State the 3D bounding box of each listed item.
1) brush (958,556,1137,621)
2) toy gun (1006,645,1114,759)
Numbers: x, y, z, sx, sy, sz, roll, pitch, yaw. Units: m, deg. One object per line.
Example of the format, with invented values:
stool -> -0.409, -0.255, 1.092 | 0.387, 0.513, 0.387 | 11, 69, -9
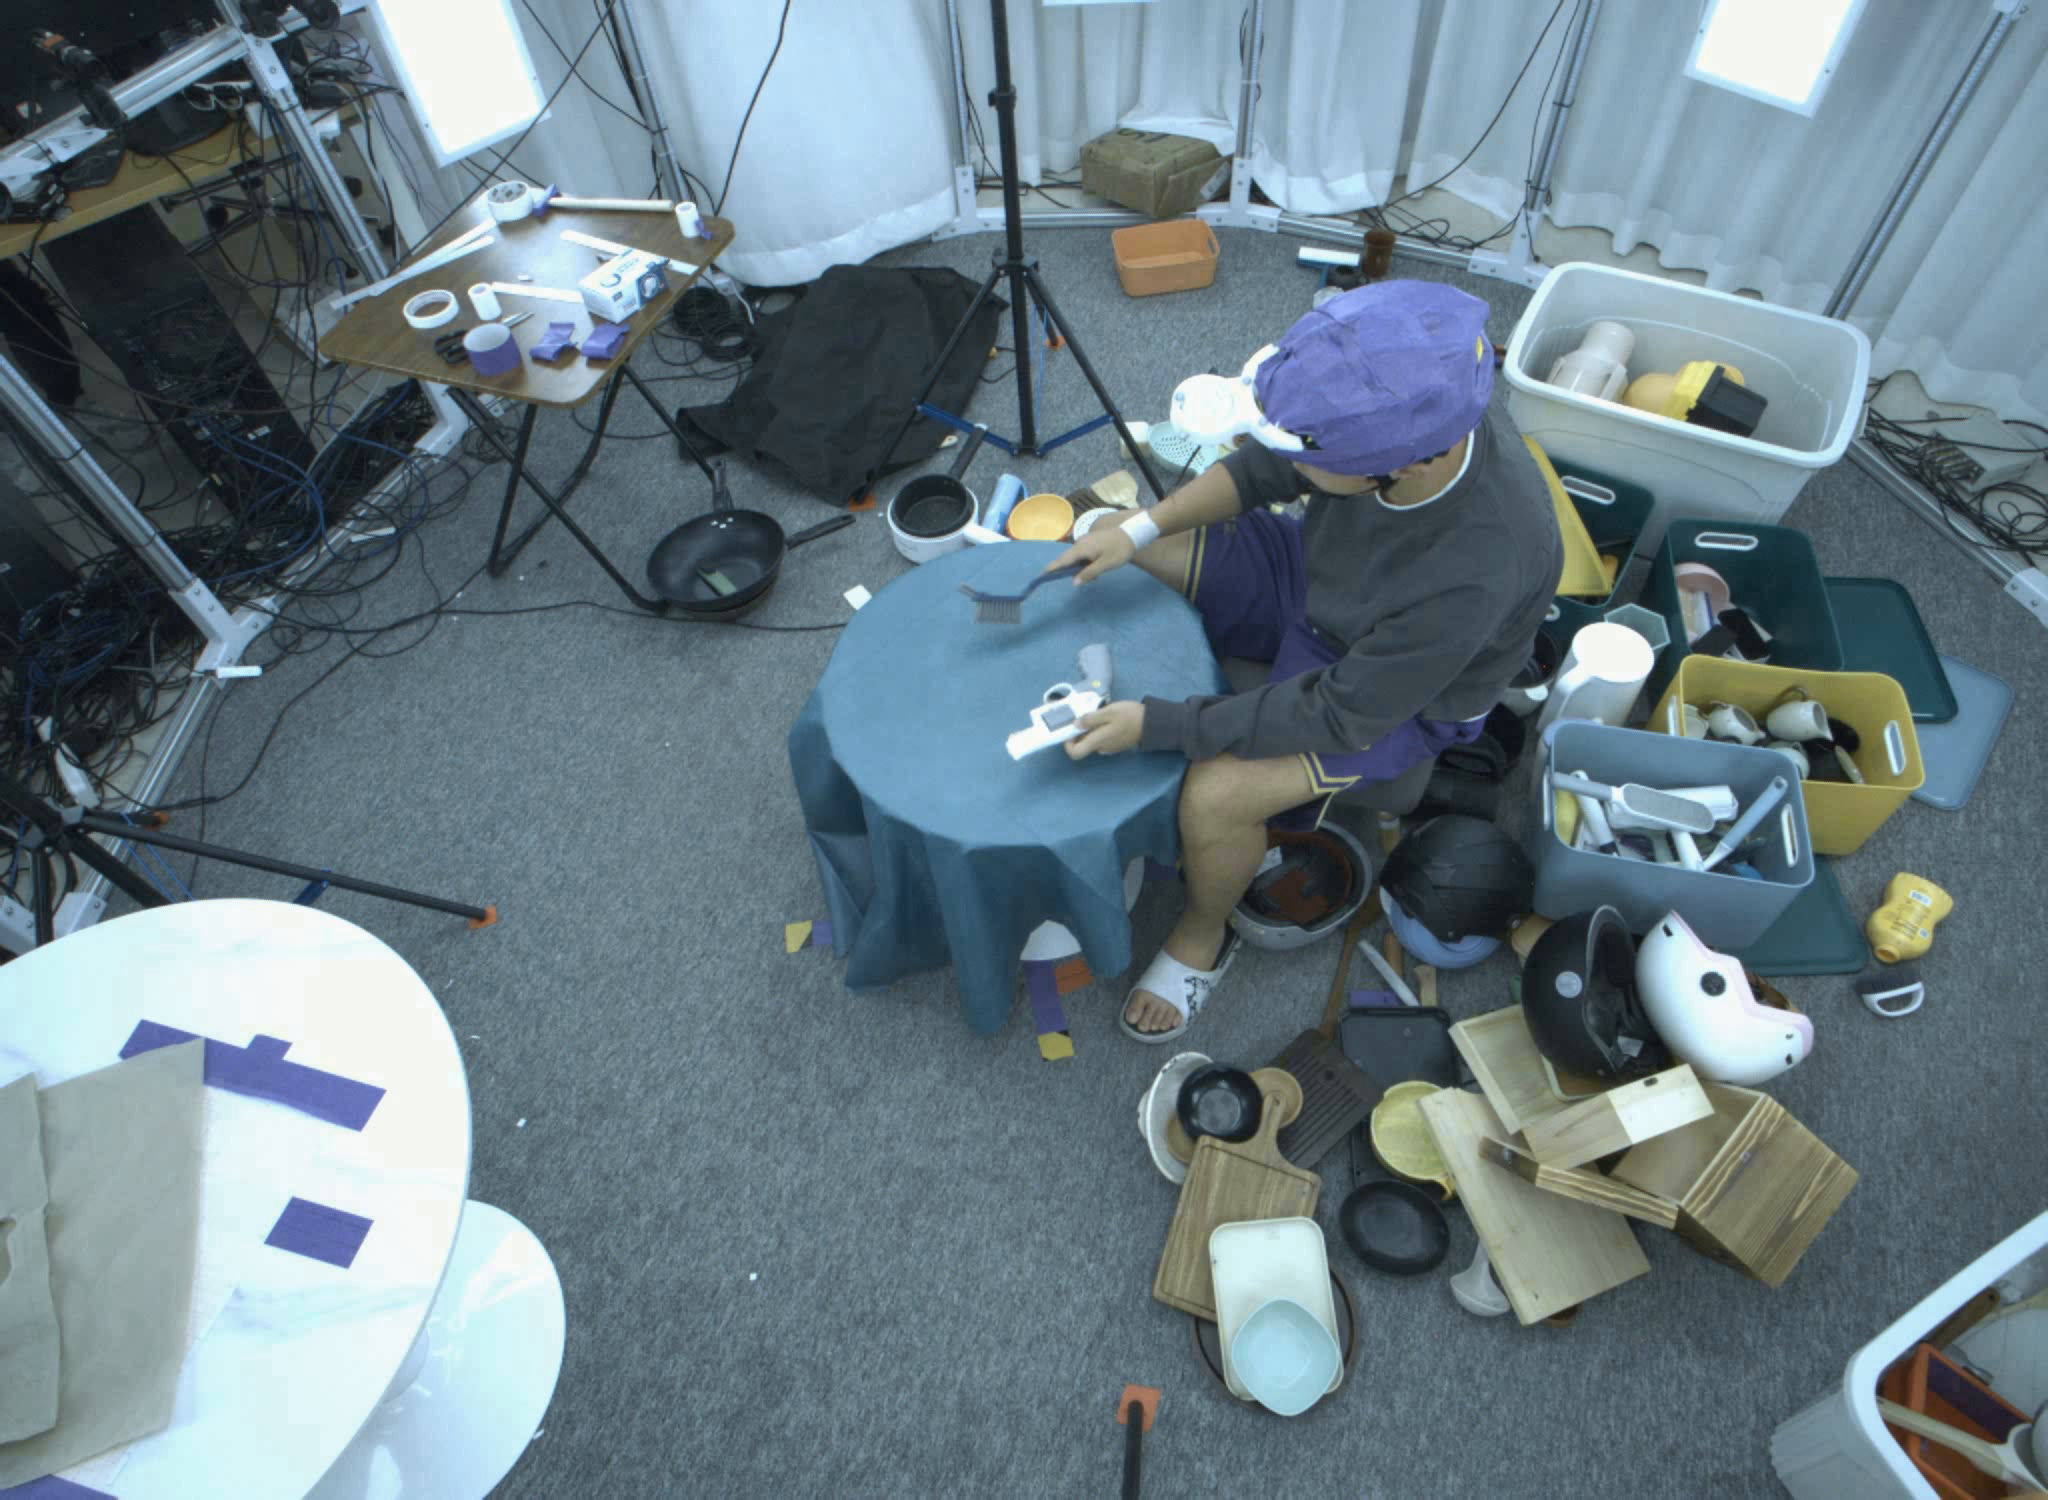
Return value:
brush -> 0.039, -0.272, 1.891 | 0.275, 0.033, 0.096 | -25, 97, -13
toy gun -> 0.054, -0.071, 1.765 | 0.210, 0.039, 0.139 | -22, 50, -12
